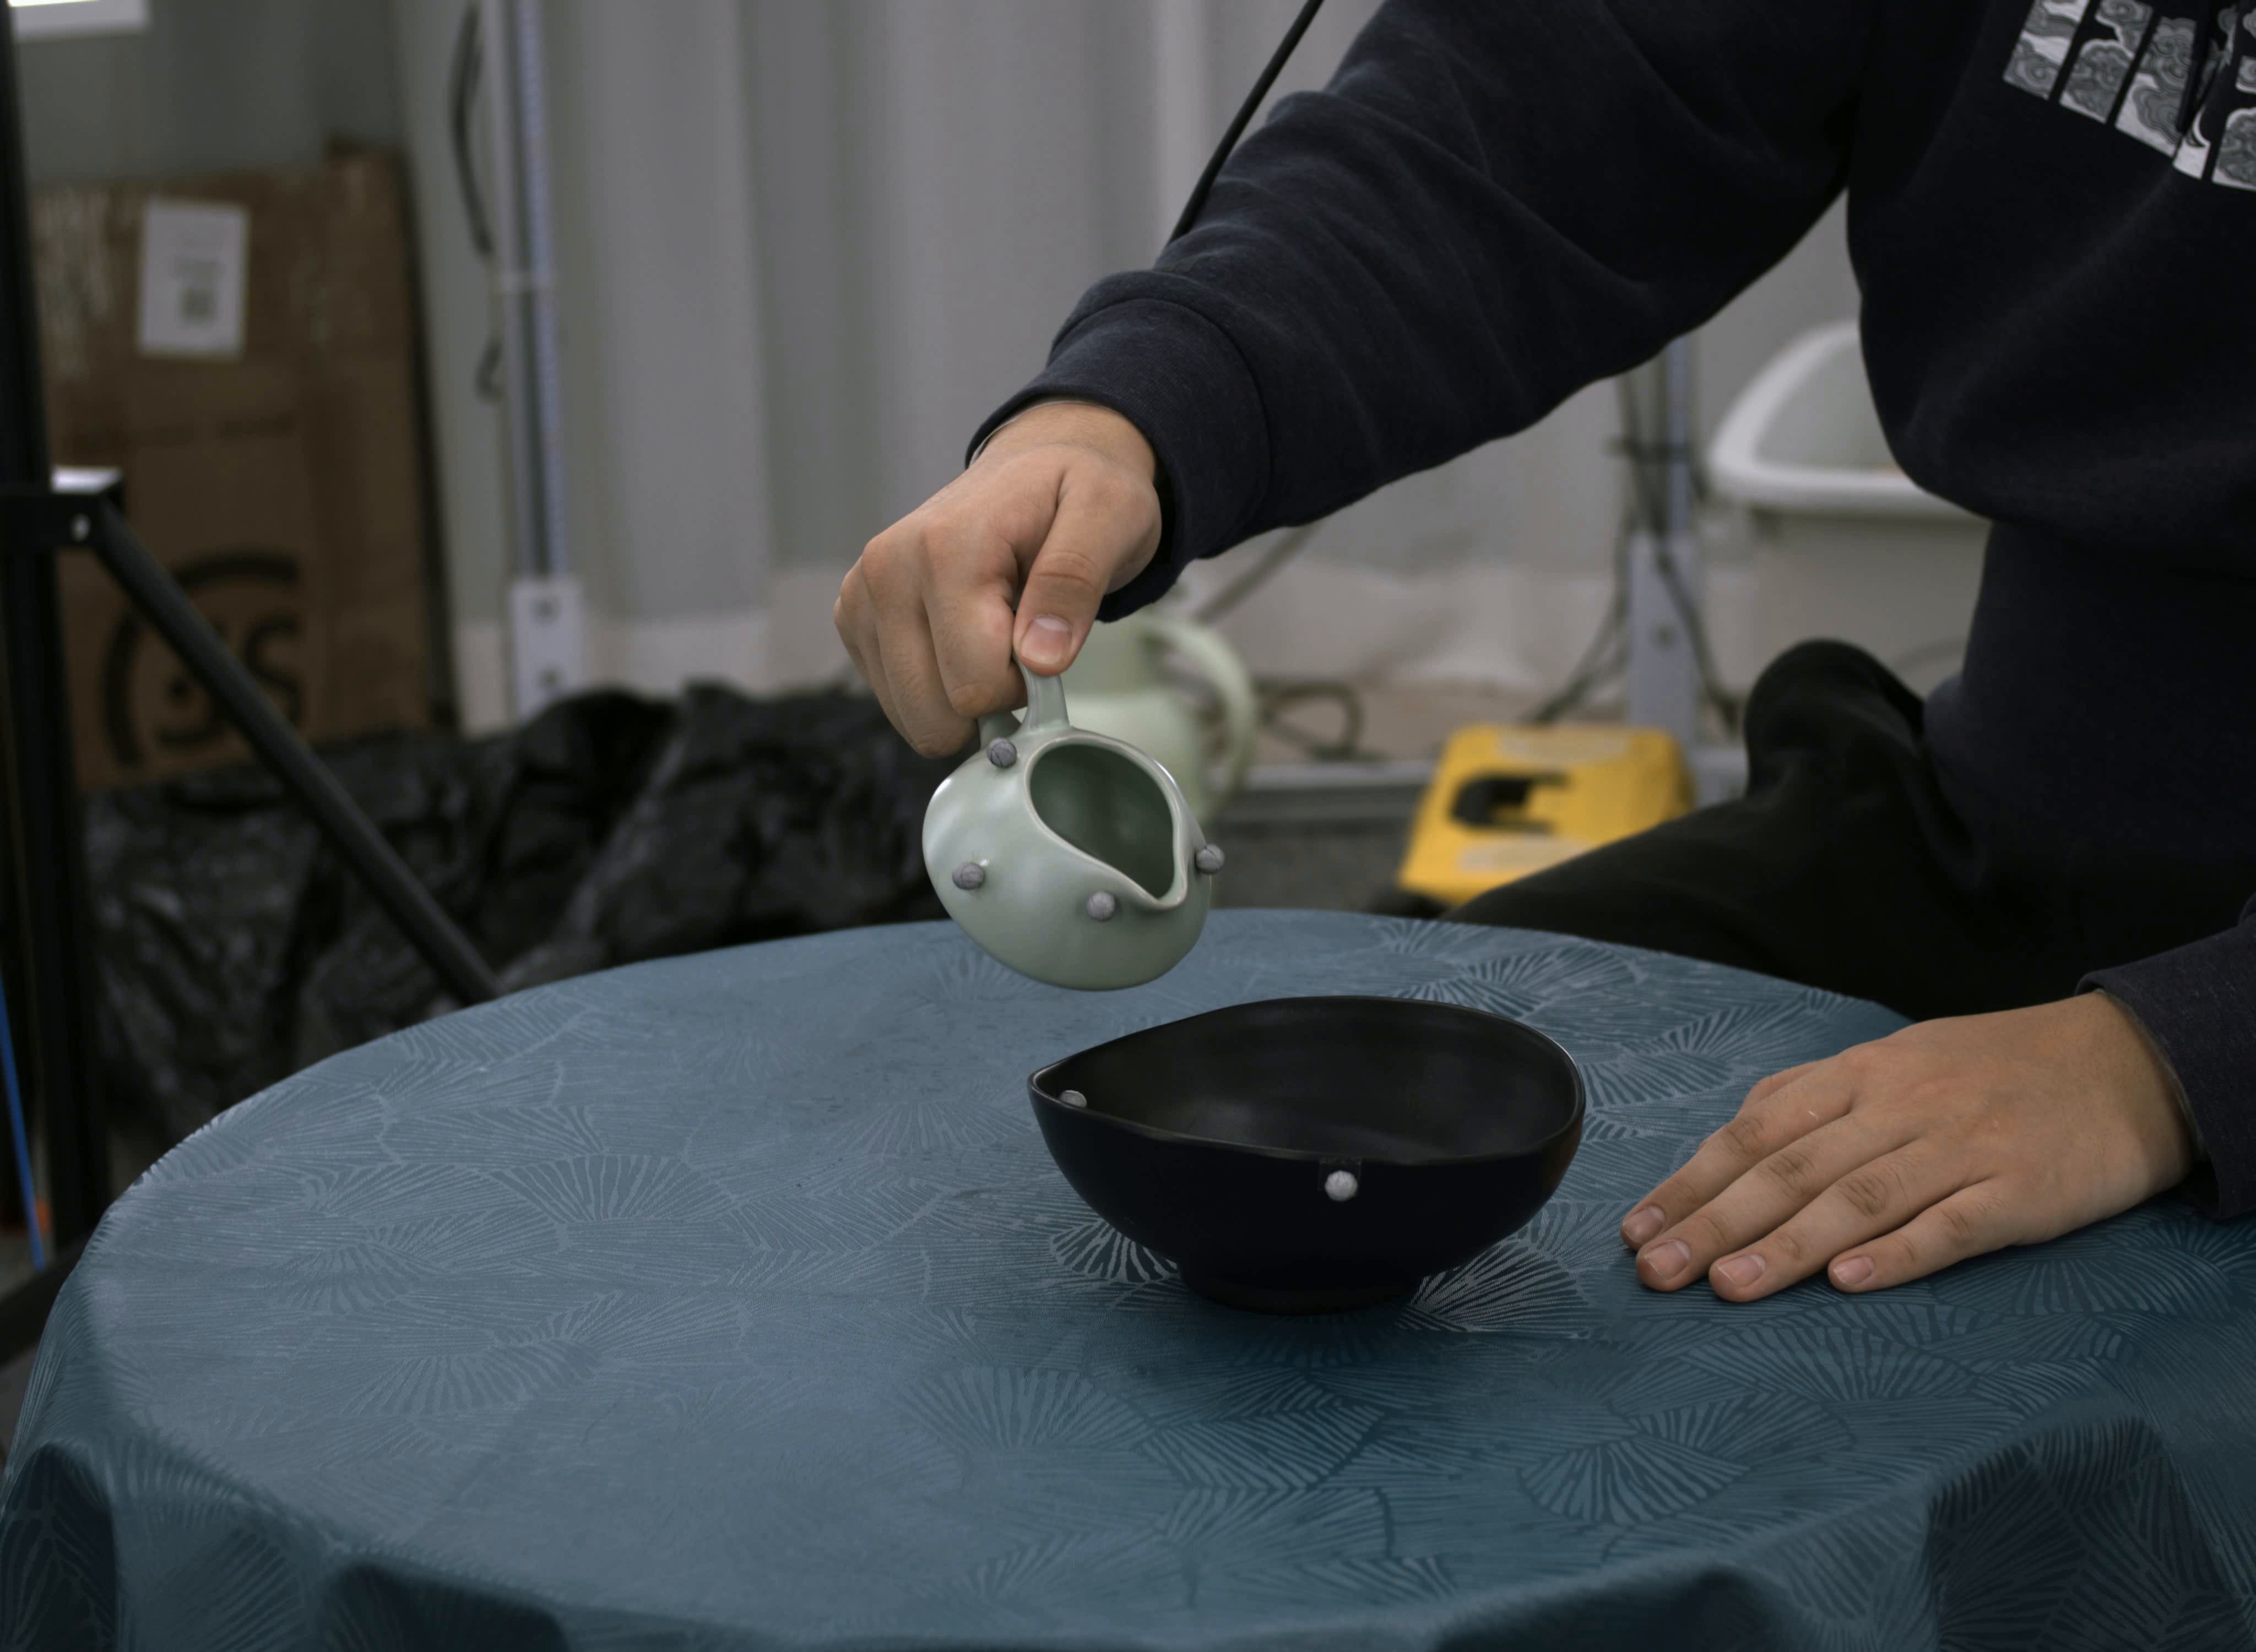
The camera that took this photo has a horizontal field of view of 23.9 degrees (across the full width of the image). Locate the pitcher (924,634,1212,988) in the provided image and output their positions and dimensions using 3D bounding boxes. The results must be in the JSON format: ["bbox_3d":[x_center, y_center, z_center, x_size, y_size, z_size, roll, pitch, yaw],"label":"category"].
[{"bbox_3d":[-0.020,-0.003,1.517,0.084,0.060,0.110,-12,55,-33],"label":"pitcher"}]

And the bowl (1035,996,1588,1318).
[{"bbox_3d":[0.049,0.096,1.476,0.174,0.067,0.134,10,19,40],"label":"bowl"}]
